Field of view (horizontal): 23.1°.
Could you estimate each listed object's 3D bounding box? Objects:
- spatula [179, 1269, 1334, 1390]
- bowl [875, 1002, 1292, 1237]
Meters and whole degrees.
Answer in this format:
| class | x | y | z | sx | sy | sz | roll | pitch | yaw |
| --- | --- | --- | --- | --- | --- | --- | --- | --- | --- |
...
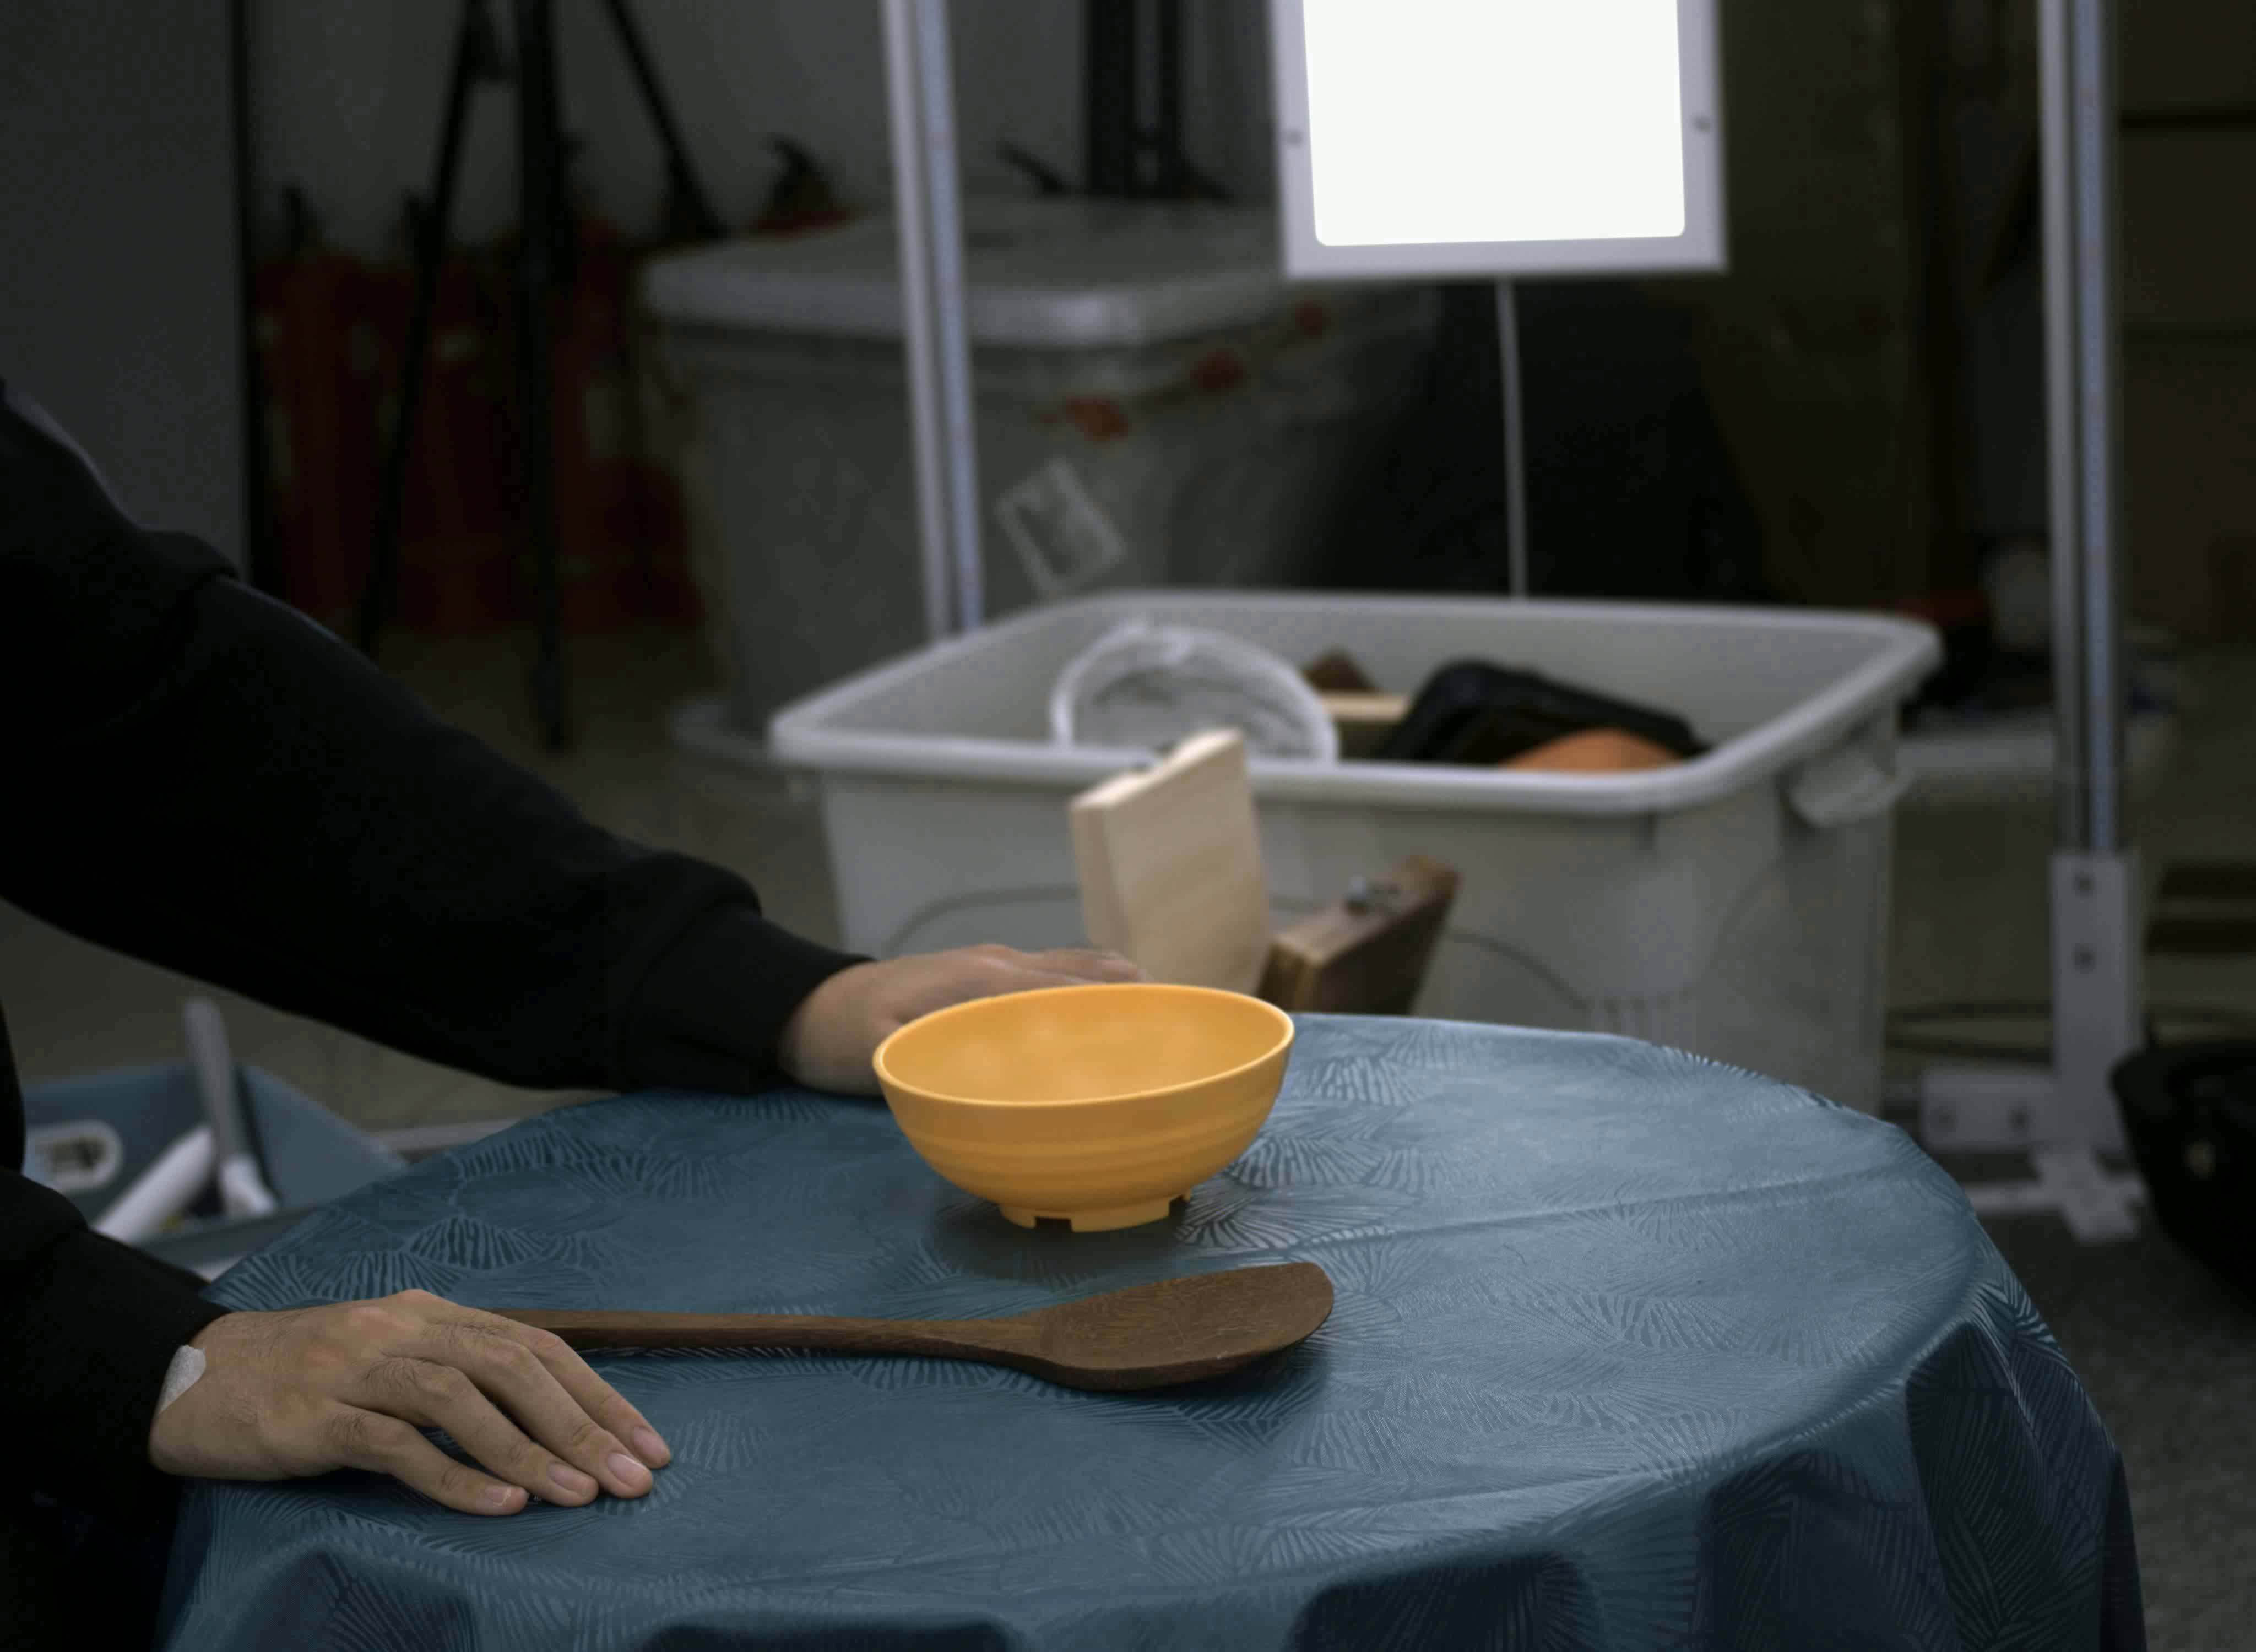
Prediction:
| class | x | y | z | sx | sy | sz | roll | pitch | yaw |
| --- | --- | --- | --- | --- | --- | --- | --- | --- | --- |
| spatula | -0.124 | 0.162 | 1.769 | 0.389 | 0.016 | 0.095 | -1 | 13 | 15 |
| bowl | -0.013 | 0.104 | 1.881 | 0.145 | 0.060 | 0.145 | -5 | 11 | 0 |
